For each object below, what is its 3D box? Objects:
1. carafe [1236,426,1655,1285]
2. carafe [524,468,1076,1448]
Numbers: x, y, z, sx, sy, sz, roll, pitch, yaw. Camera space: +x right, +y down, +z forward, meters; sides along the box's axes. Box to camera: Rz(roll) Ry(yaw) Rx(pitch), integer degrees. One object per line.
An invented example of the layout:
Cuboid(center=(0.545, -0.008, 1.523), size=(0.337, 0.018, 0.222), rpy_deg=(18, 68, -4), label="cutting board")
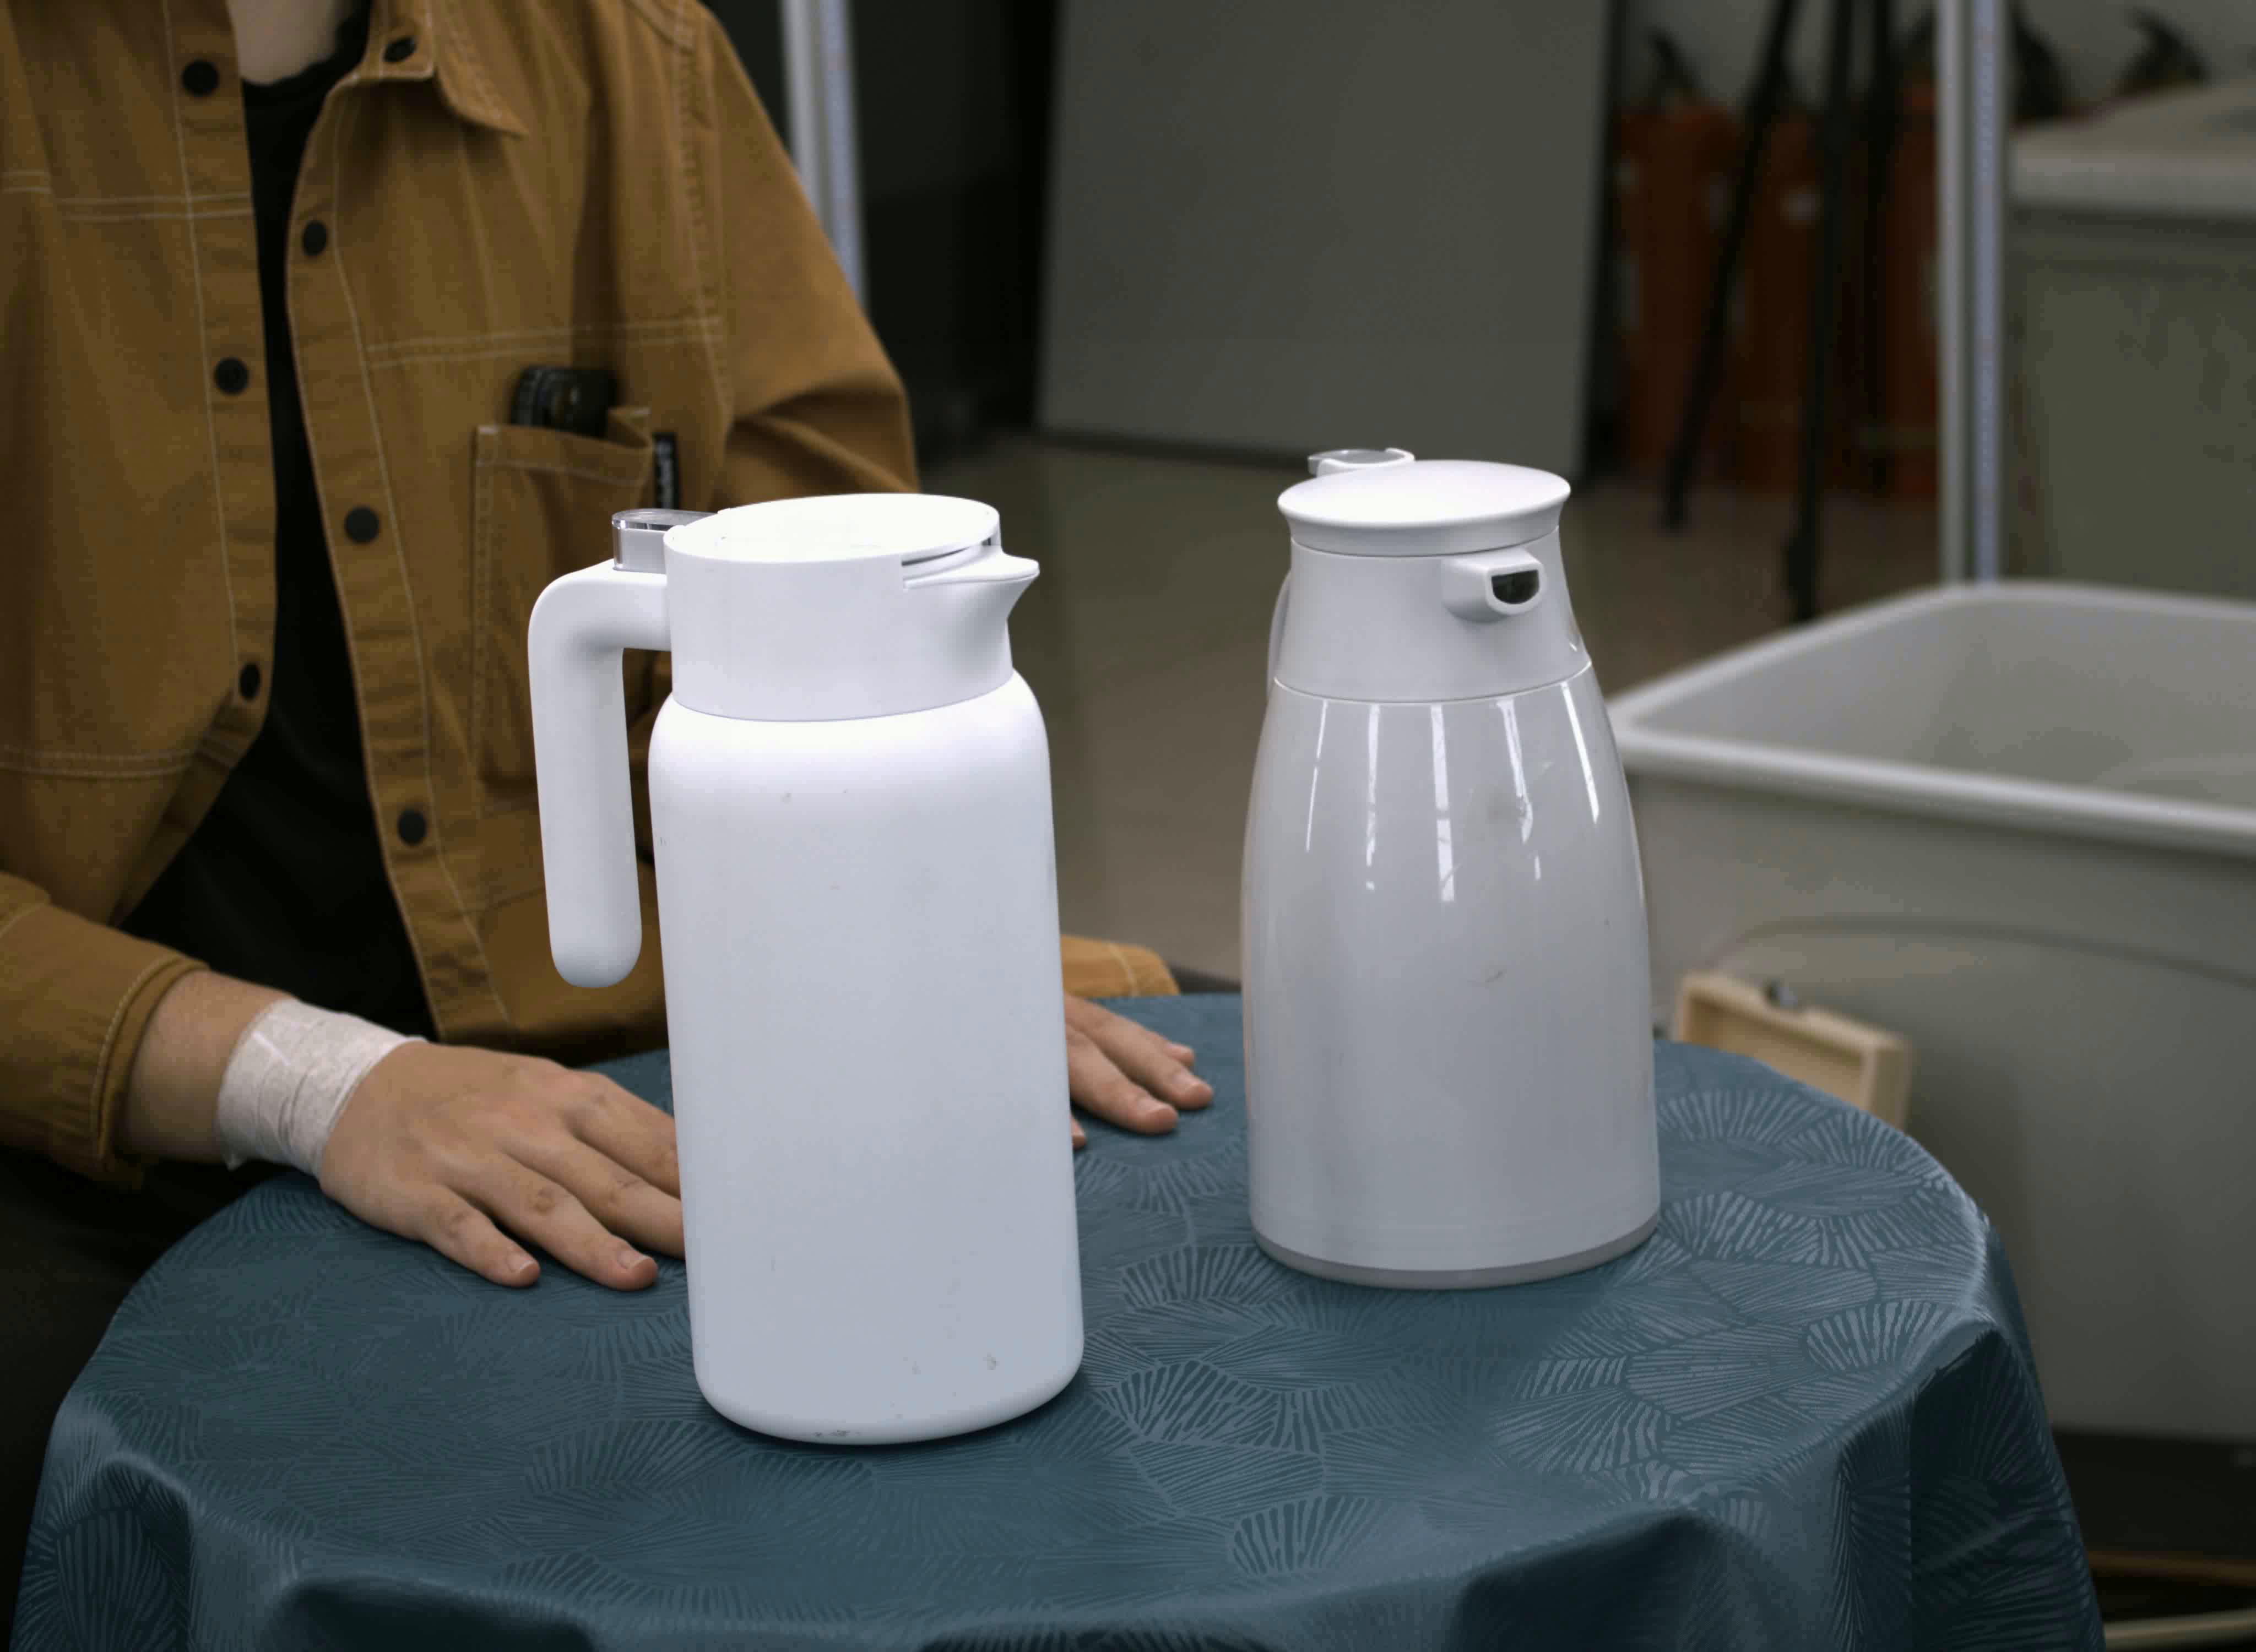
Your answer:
Cuboid(center=(0.088, 0.001, 1.707), size=(0.130, 0.251, 0.169), rpy_deg=(-9, 14, -21), label="carafe")
Cuboid(center=(-0.095, 0.037, 1.583), size=(0.173, 0.272, 0.122), rpy_deg=(4, 17, 31), label="carafe")
